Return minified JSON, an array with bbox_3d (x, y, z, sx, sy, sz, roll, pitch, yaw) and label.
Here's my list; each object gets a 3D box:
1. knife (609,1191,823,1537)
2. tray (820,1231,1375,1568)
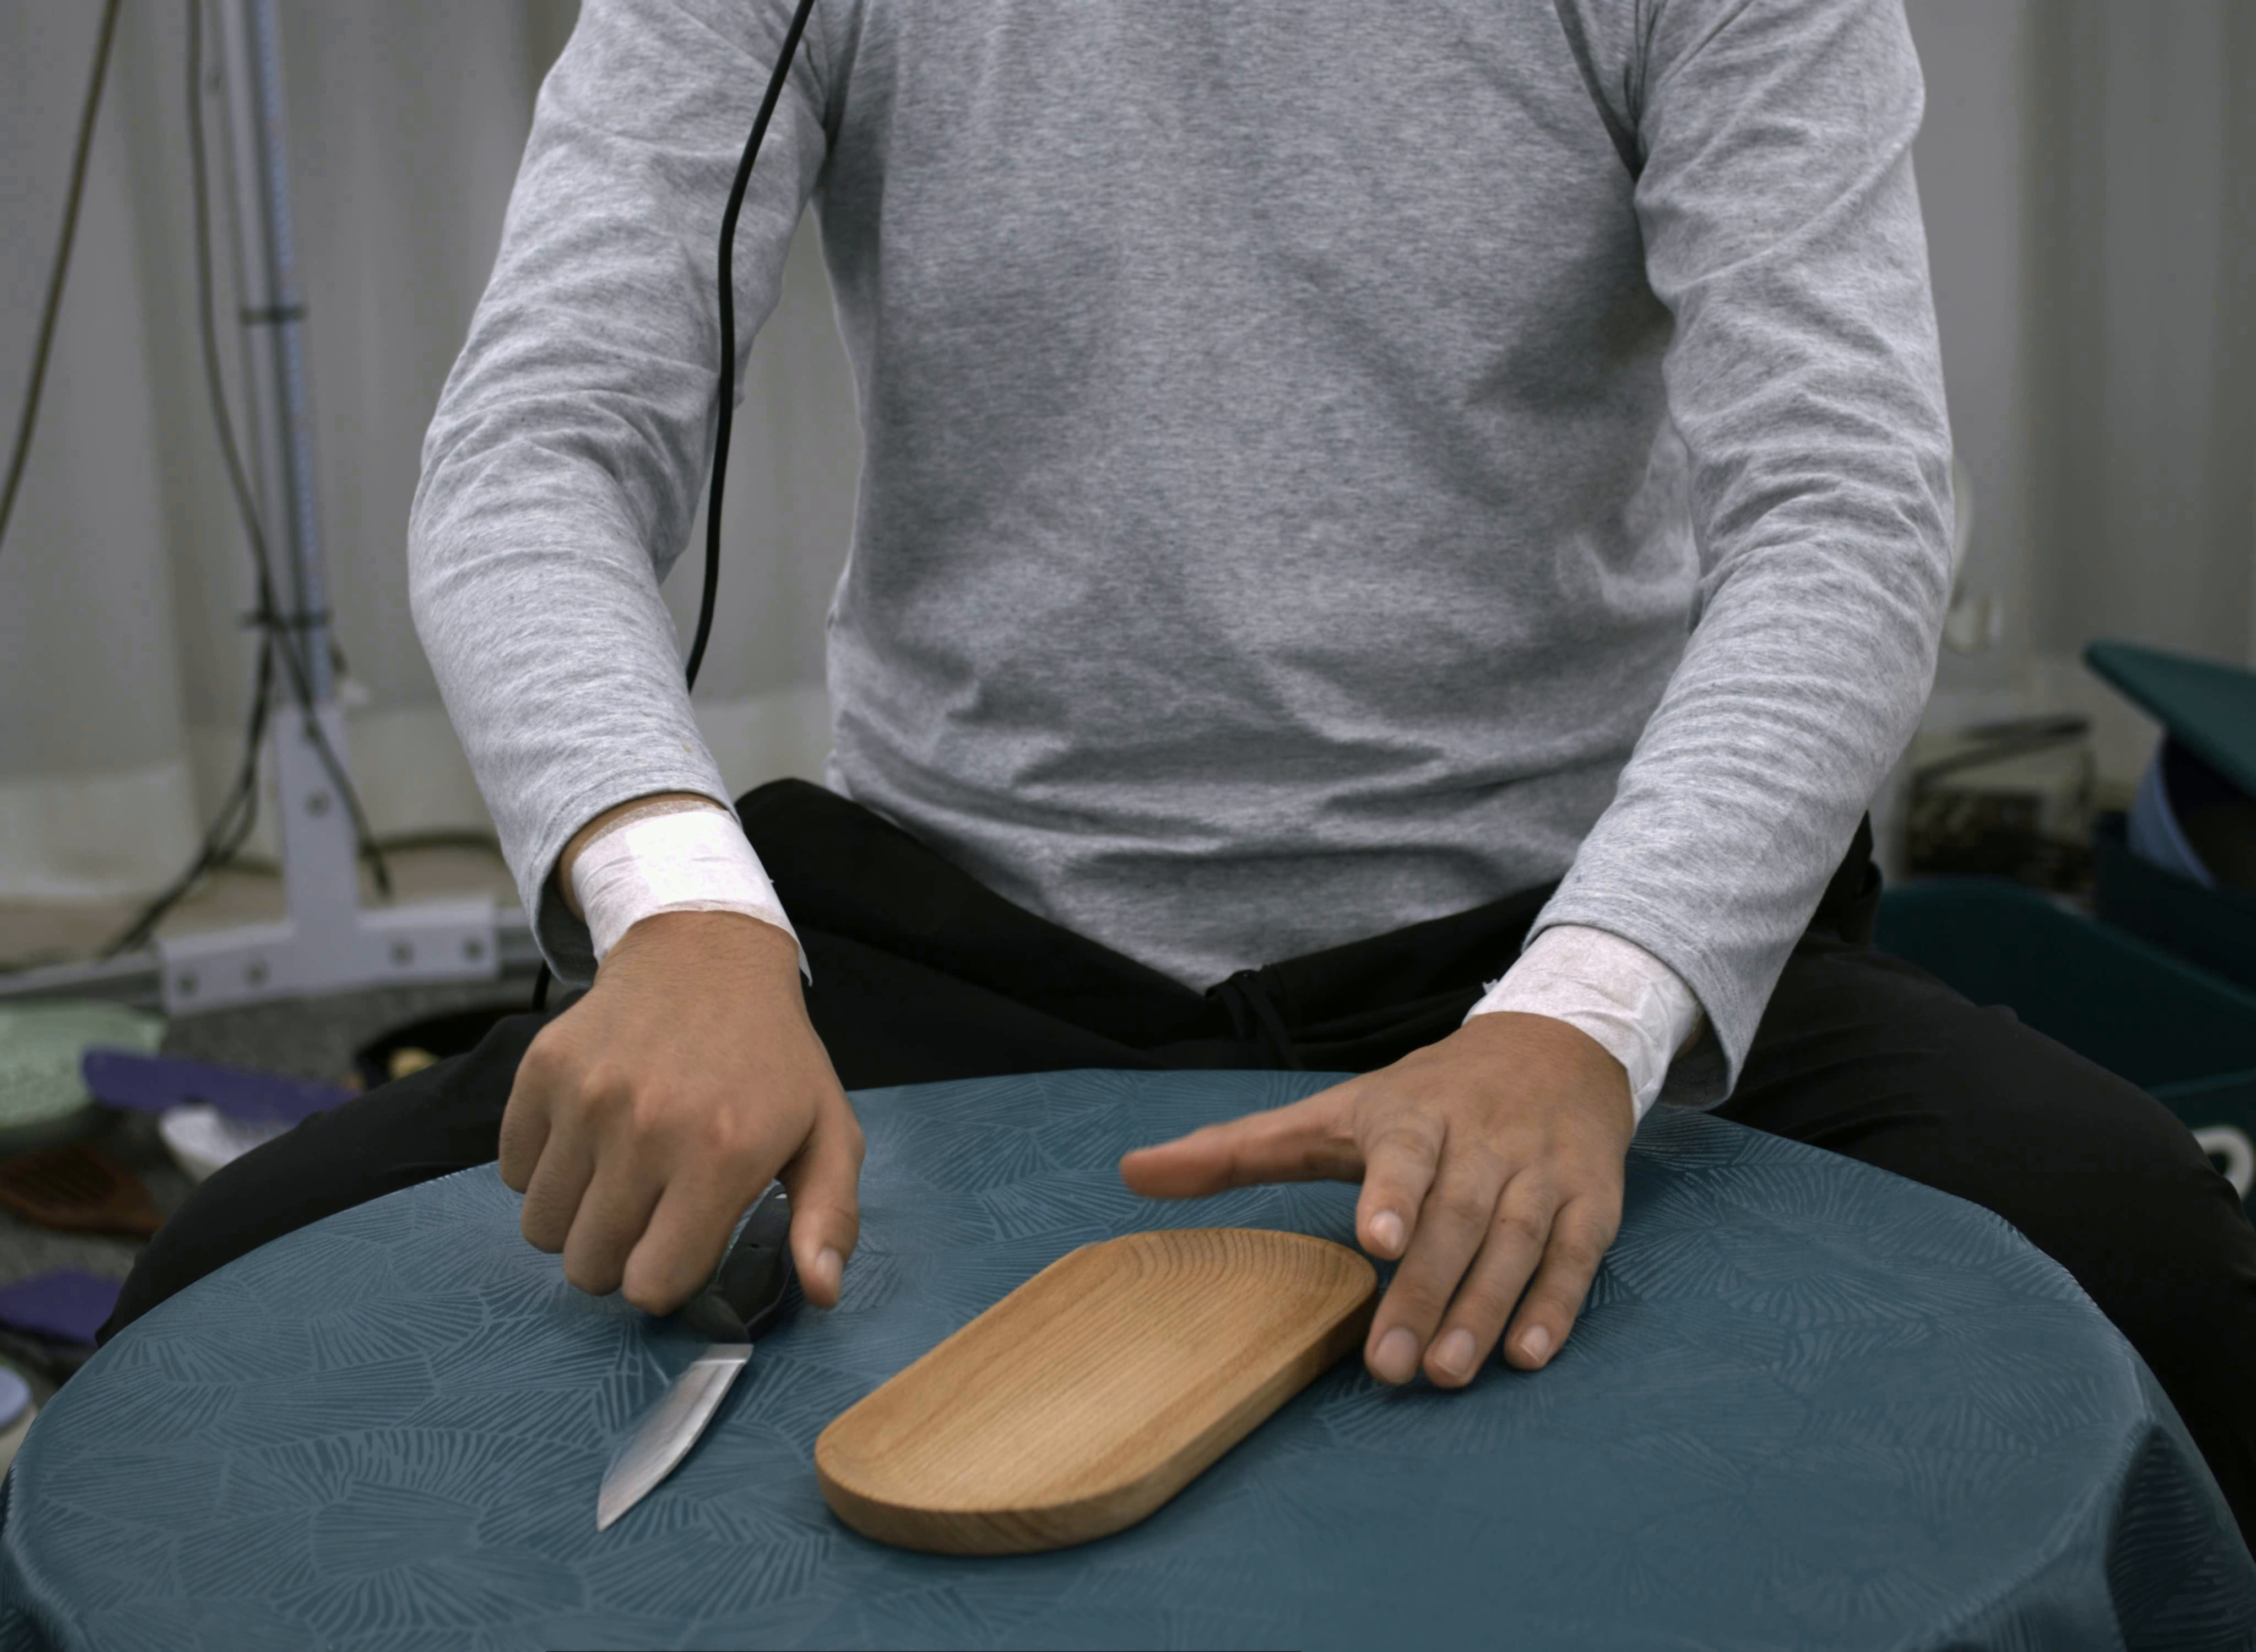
[{"bbox_3d":[-0.121,0.154,1.572,0.024,0.016,0.240,-1,17,9],"label":"knife"},{"bbox_3d":[-0.005,0.158,1.527,0.102,0.020,0.232,2,17,24],"label":"tray"}]
